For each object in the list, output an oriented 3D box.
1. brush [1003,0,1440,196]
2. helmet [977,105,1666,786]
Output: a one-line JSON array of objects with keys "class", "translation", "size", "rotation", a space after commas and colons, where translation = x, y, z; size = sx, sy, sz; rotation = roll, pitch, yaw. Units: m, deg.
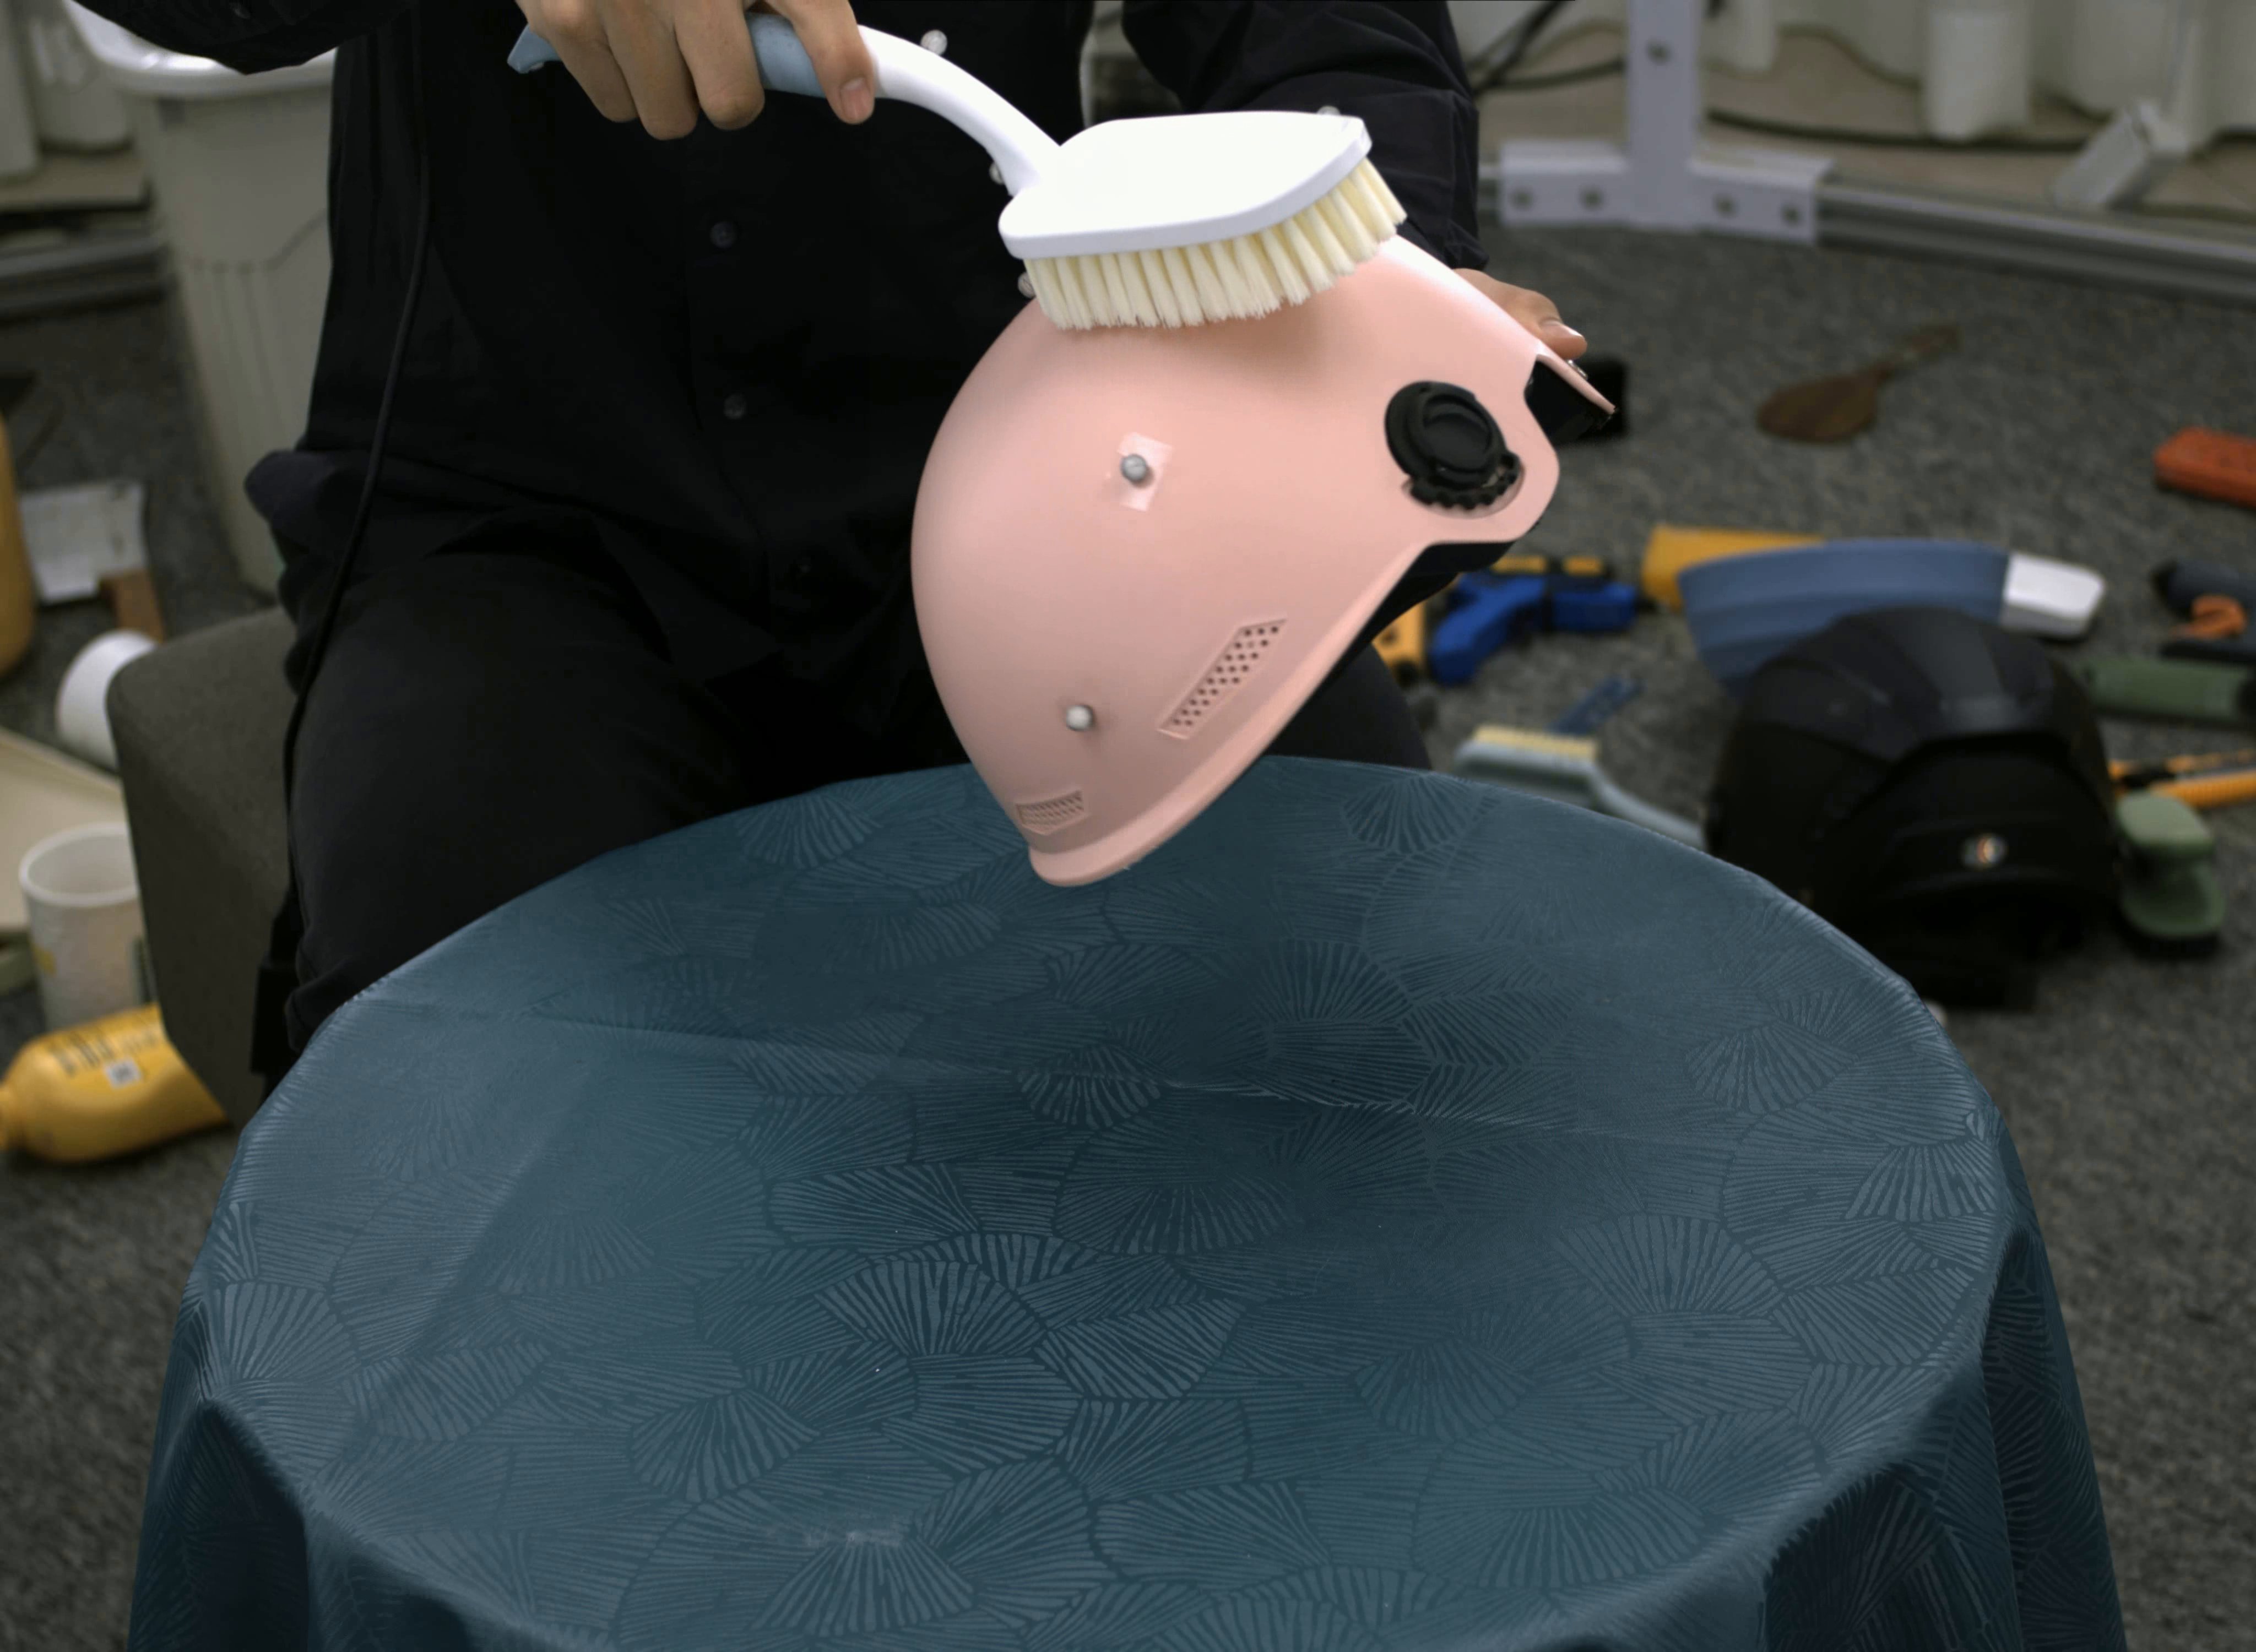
[{"class": "brush", "translation": [-0.043, -0.252, 1.830], "size": [0.323, 0.085, 0.083], "rotation": [11, 4, 29]}, {"class": "helmet", "translation": [0.039, -0.145, 1.856], "size": [0.230, 0.158, 0.271], "rotation": [-38, 11, 37]}]
